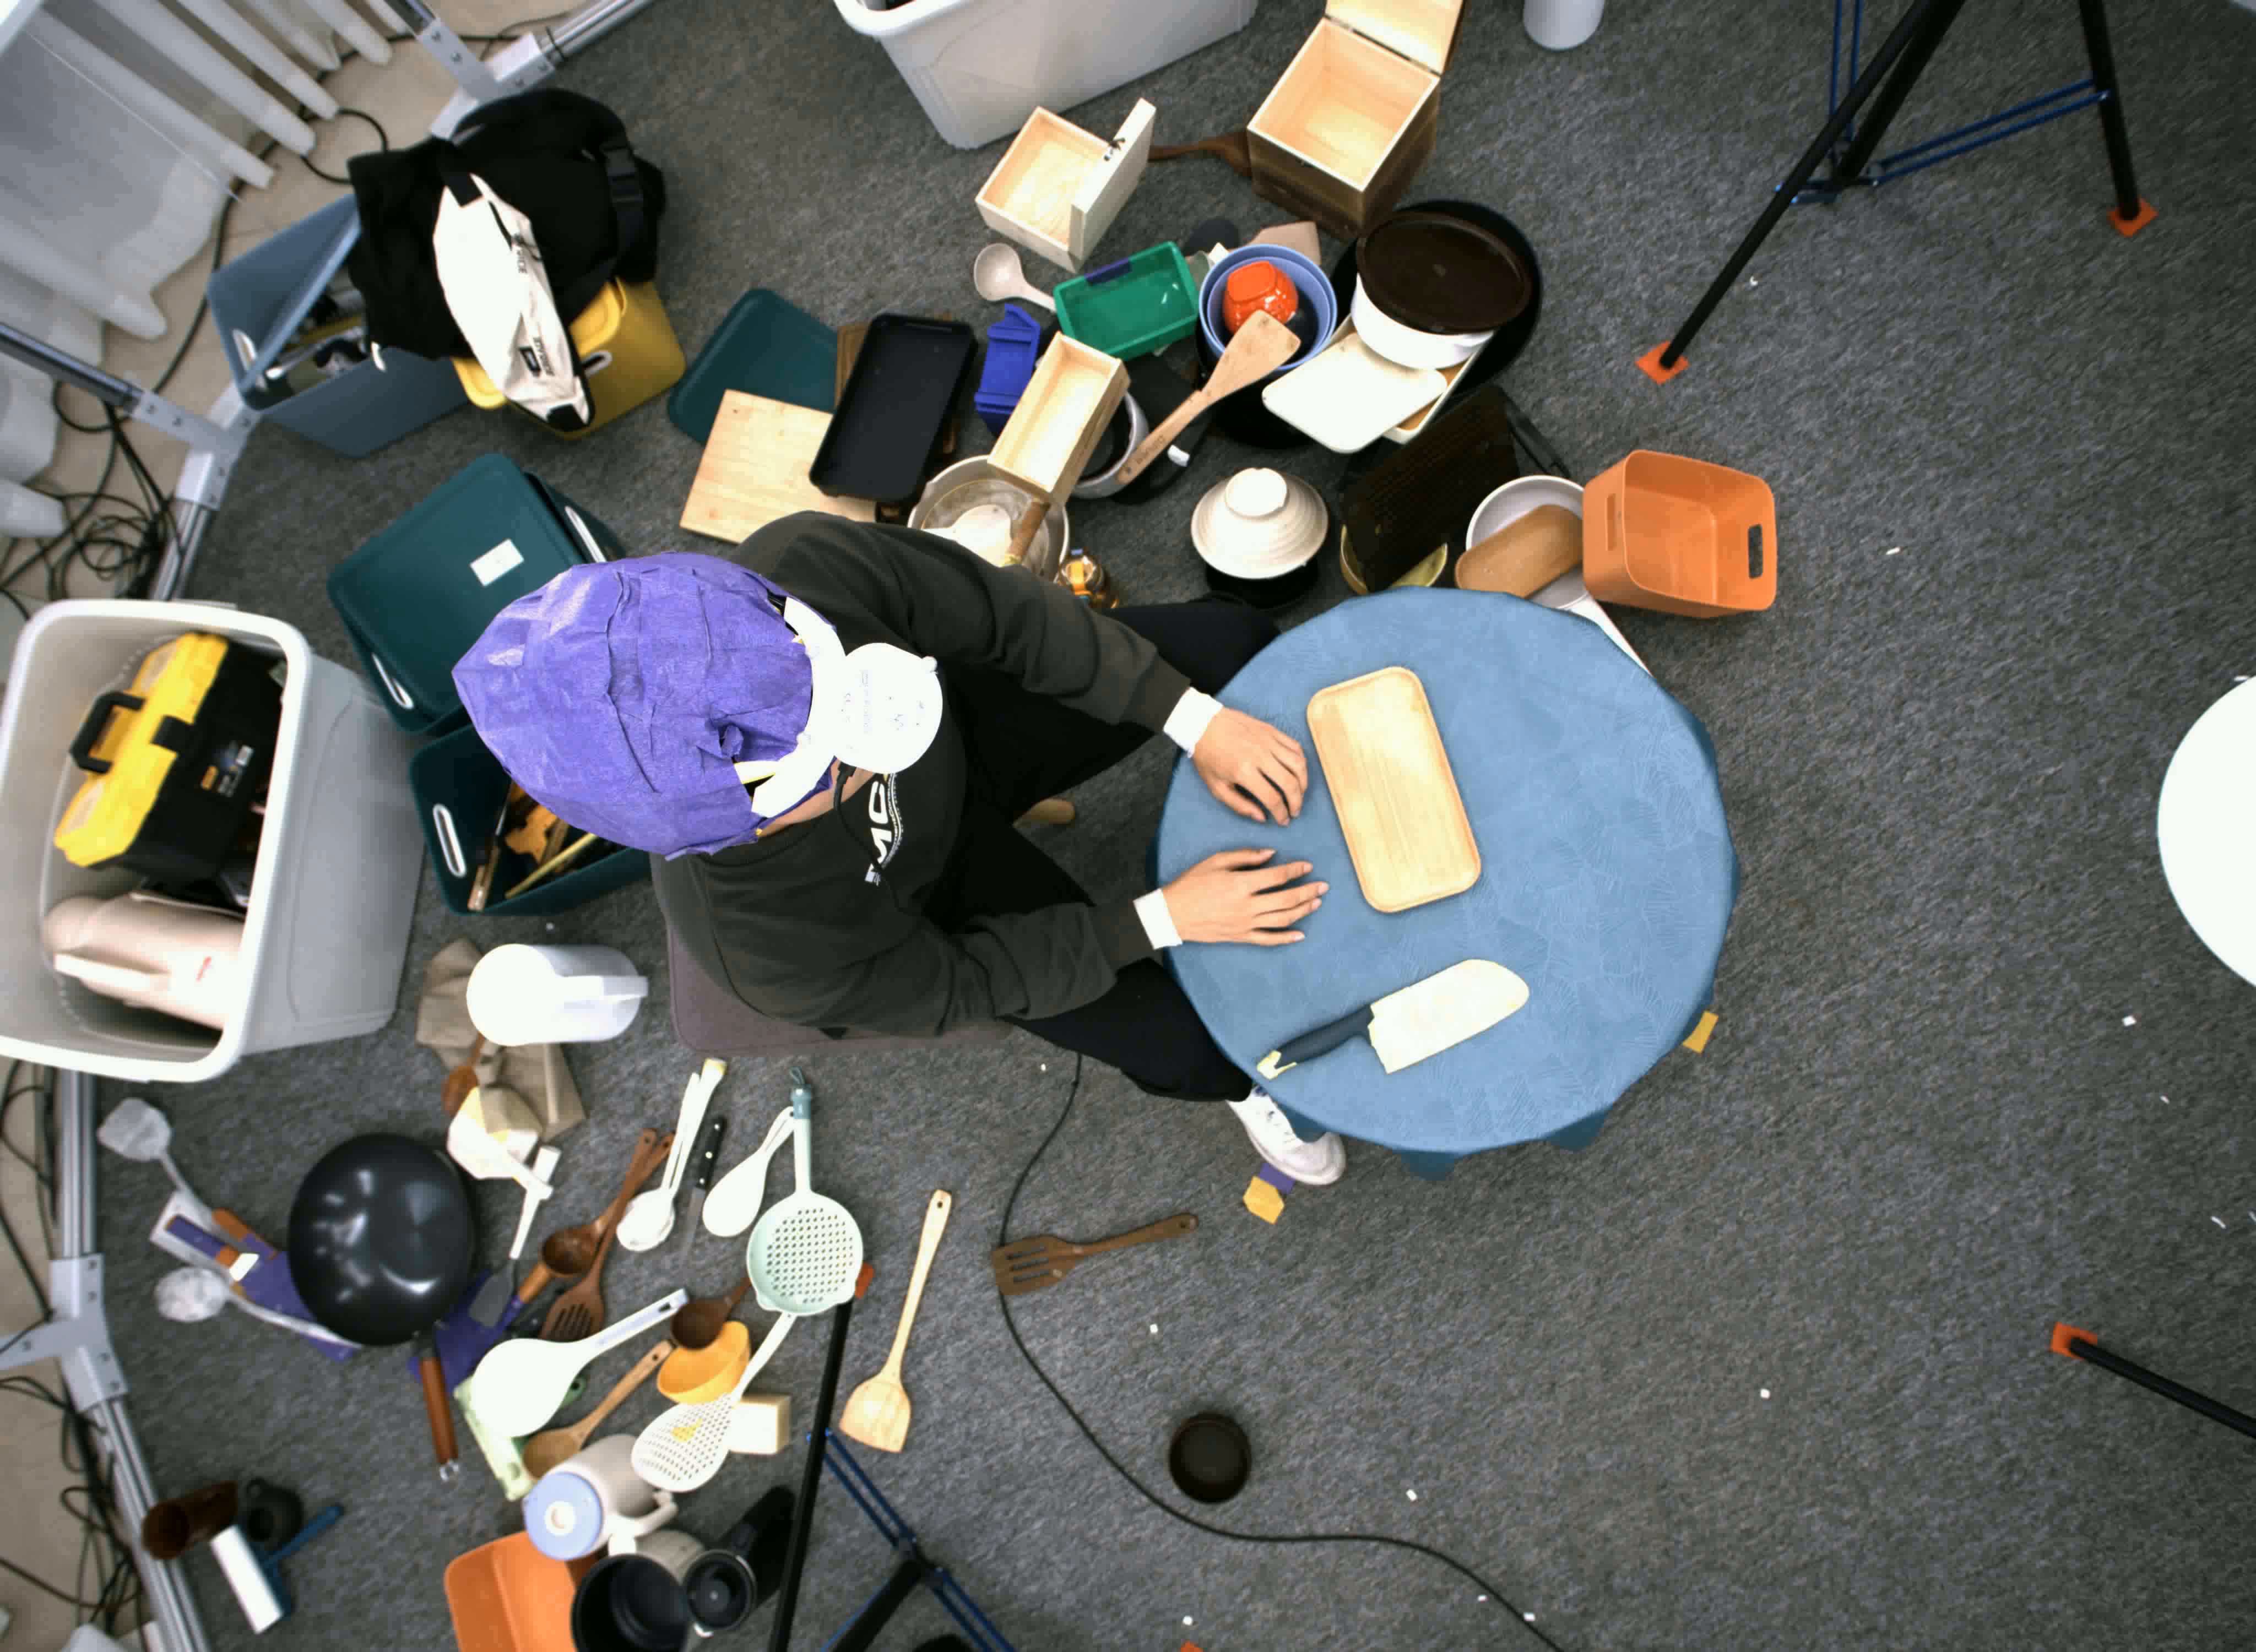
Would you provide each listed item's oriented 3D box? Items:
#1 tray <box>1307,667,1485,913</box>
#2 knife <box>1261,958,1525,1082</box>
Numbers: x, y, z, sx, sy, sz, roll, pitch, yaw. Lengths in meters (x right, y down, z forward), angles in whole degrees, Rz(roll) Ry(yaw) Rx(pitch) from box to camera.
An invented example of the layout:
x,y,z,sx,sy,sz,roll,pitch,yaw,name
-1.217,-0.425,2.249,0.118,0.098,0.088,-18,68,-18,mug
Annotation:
x,y,z,sx,sy,sz,roll,pitch,yaw,name
0.282,-0.040,1.456,0.131,0.023,0.249,-18,84,12,tray
0.278,0.212,1.443,0.291,0.027,0.080,-23,81,8,knife
